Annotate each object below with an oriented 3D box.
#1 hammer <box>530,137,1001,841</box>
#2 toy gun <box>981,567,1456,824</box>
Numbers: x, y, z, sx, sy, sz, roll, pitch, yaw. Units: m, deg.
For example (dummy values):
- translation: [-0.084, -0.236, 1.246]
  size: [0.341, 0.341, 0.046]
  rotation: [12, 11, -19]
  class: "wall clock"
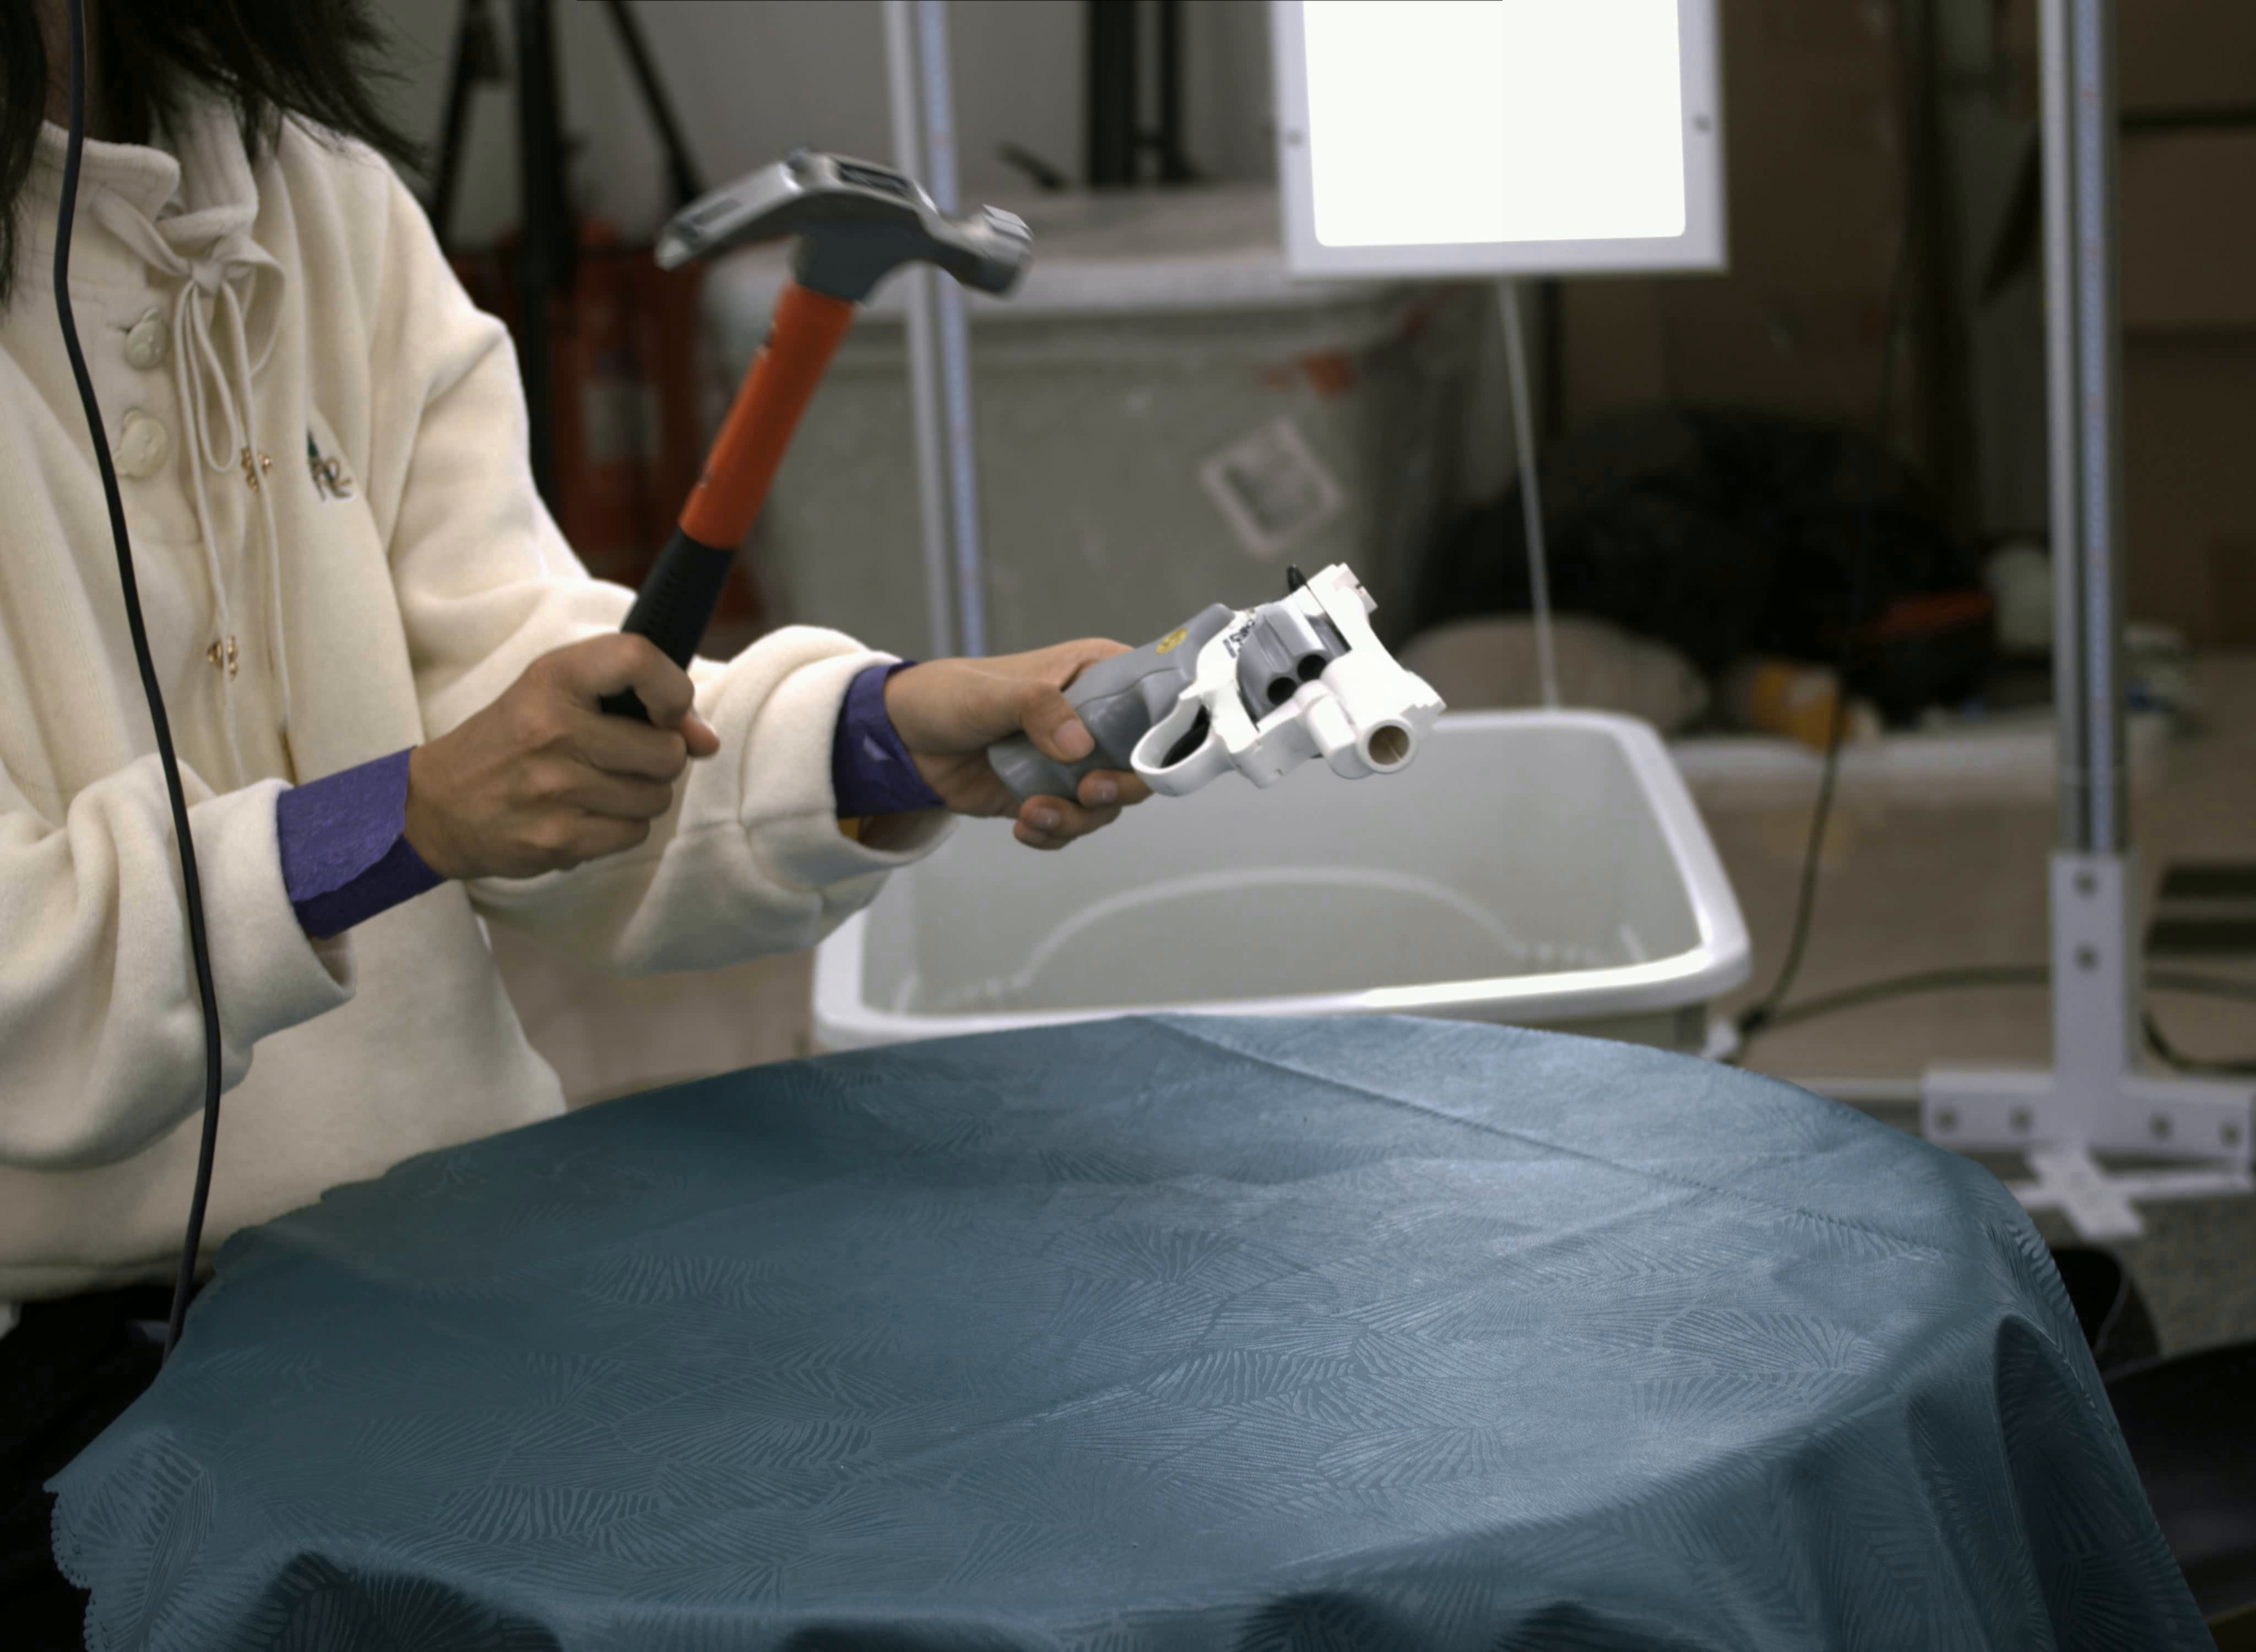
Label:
- translation: [-0.139, -0.105, 1.793]
  size: [0.108, 0.281, 0.026]
  rotation: [6, 39, -27]
  class: "hammer"
- translation: [0.028, -0.033, 1.851]
  size: [0.142, 0.038, 0.210]
  rotation: [-36, 21, 2]
  class: "toy gun"
